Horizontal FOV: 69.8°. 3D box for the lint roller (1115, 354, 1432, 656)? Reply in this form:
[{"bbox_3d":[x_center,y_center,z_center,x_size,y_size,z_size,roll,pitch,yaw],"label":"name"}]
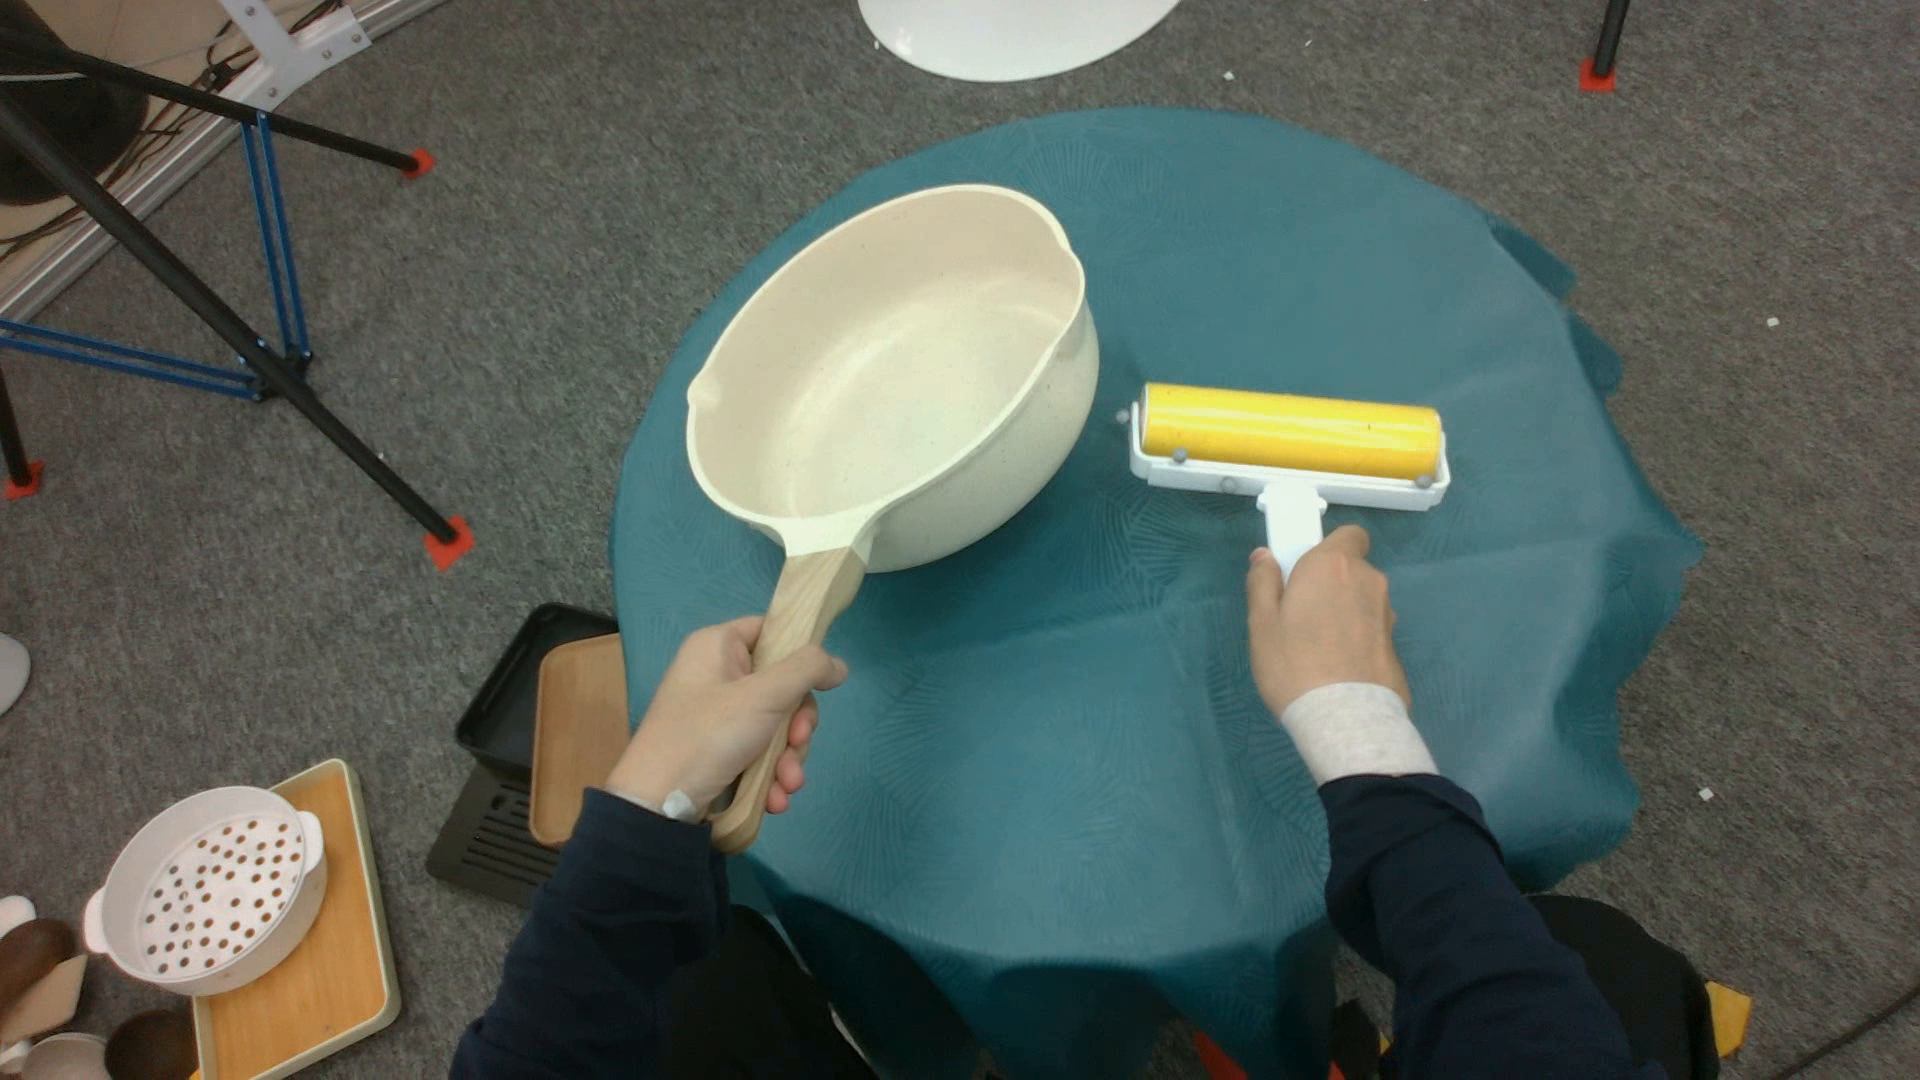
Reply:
[{"bbox_3d":[0.171,-0.024,0.718,0.174,0.051,0.193,6,40,-2],"label":"lint roller"}]

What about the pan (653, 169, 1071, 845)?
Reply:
[{"bbox_3d":[-0.064,-0.026,0.750,0.263,0.102,0.437,-8,53,23],"label":"pan"}]
